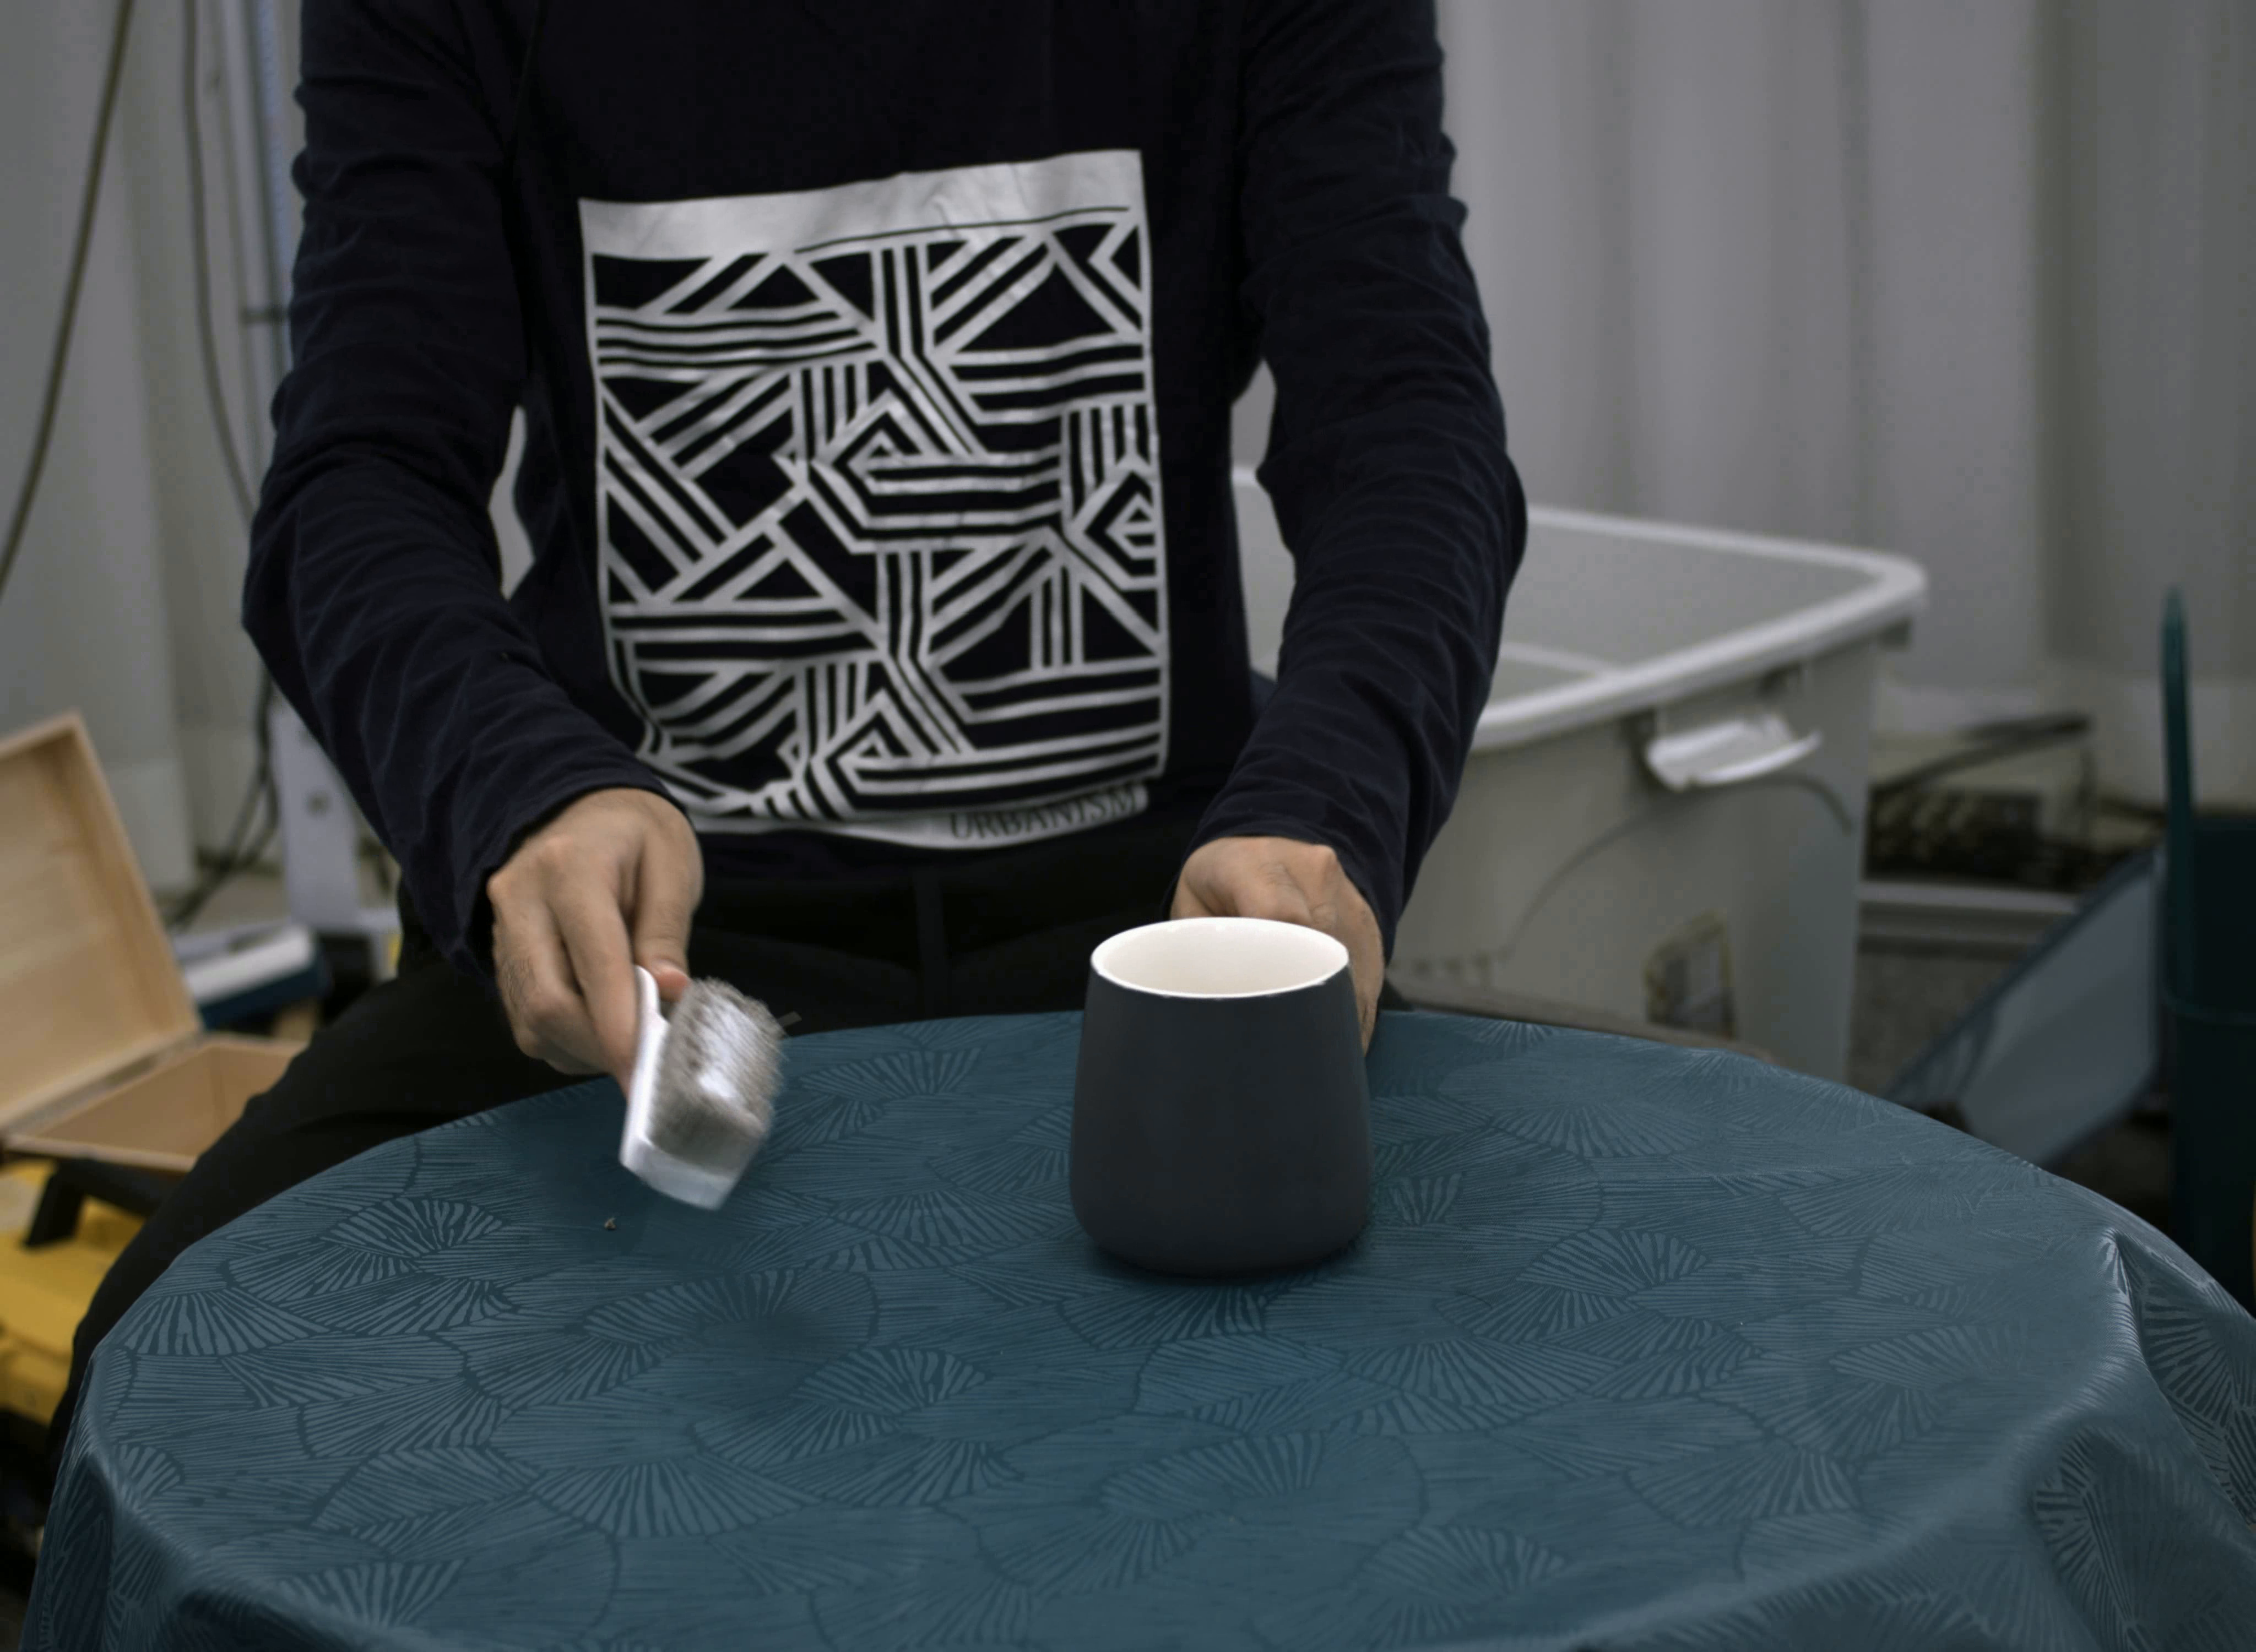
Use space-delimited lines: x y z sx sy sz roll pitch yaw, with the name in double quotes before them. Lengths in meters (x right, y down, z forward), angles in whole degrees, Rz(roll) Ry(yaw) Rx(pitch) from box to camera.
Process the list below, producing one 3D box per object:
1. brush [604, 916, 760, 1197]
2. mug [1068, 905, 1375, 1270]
"brush" -0.136 0.051 1.676 0.034 0.050 0.245 23 13 -11
"mug" 0.031 0.074 1.668 0.093 0.089 0.124 4 18 6
